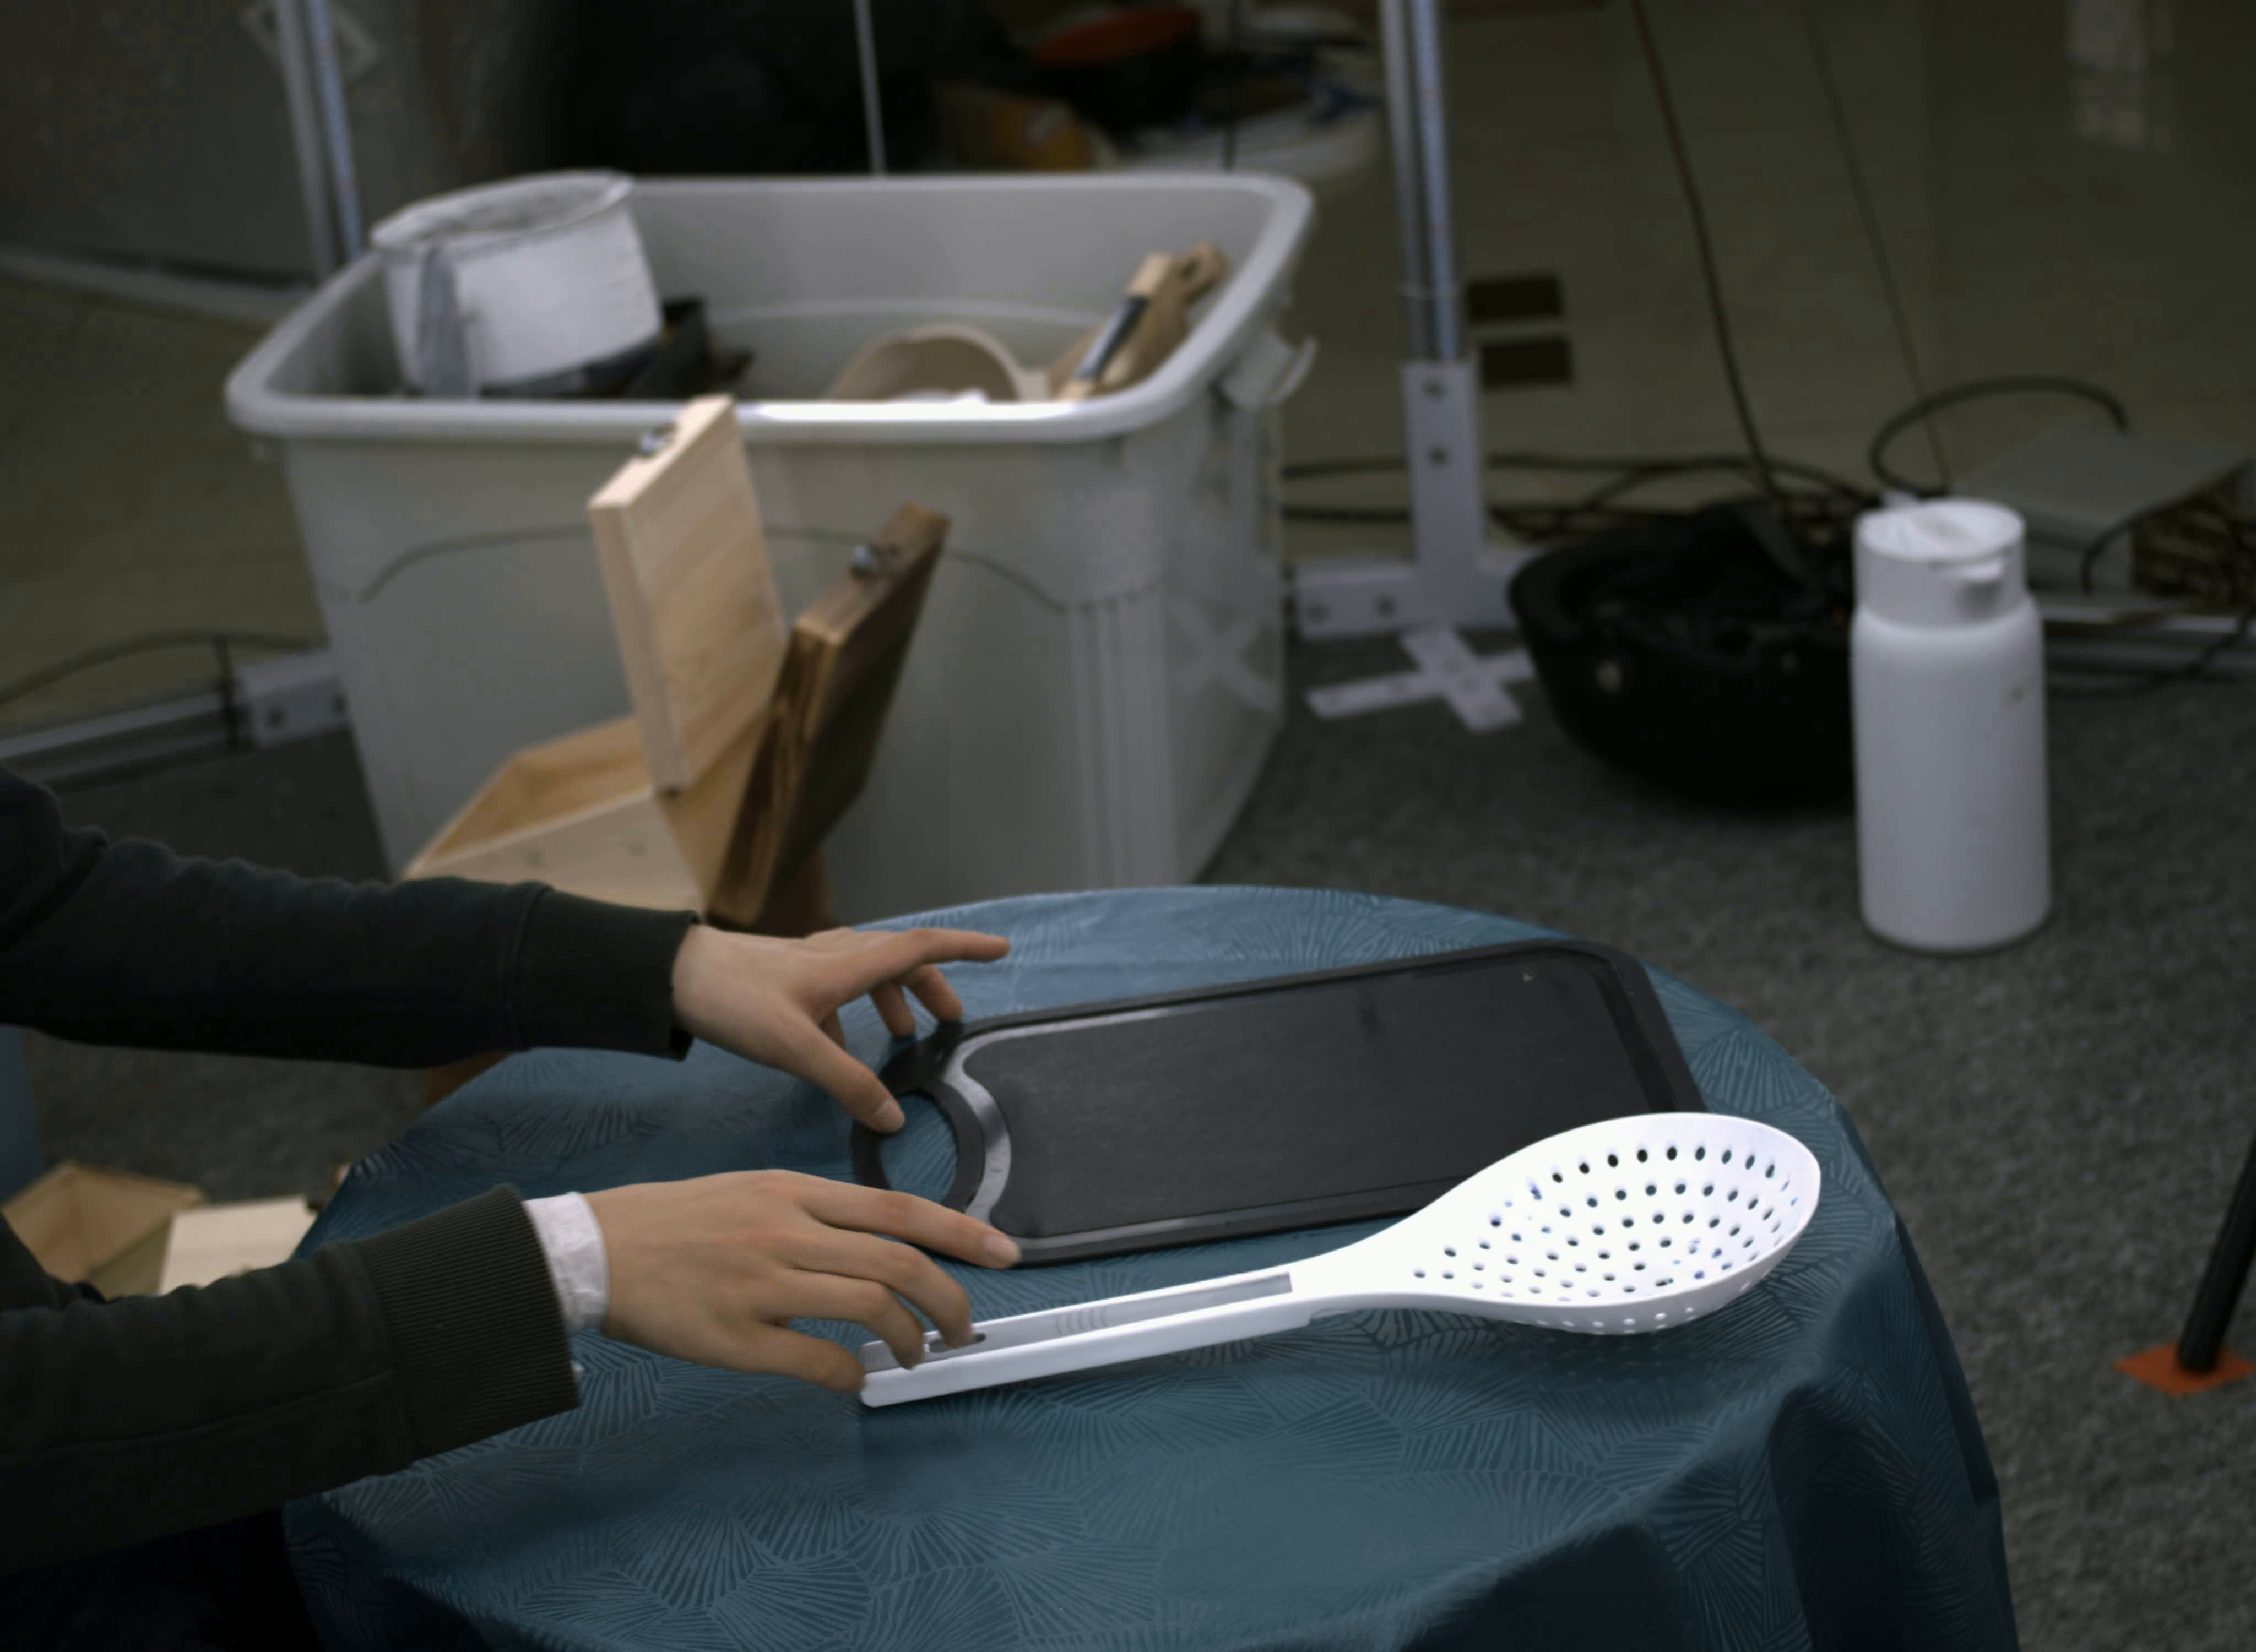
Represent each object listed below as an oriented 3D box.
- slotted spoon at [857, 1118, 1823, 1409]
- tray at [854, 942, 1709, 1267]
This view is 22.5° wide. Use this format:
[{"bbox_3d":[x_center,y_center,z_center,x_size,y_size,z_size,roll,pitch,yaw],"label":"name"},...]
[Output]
[{"bbox_3d":[0.075,0.164,2.026,0.349,0.046,0.134,-7,23,0],"label":"slotted spoon"},{"bbox_3d":[0.055,0.106,2.203,0.325,0.010,0.208,-8,25,-2],"label":"tray"}]
